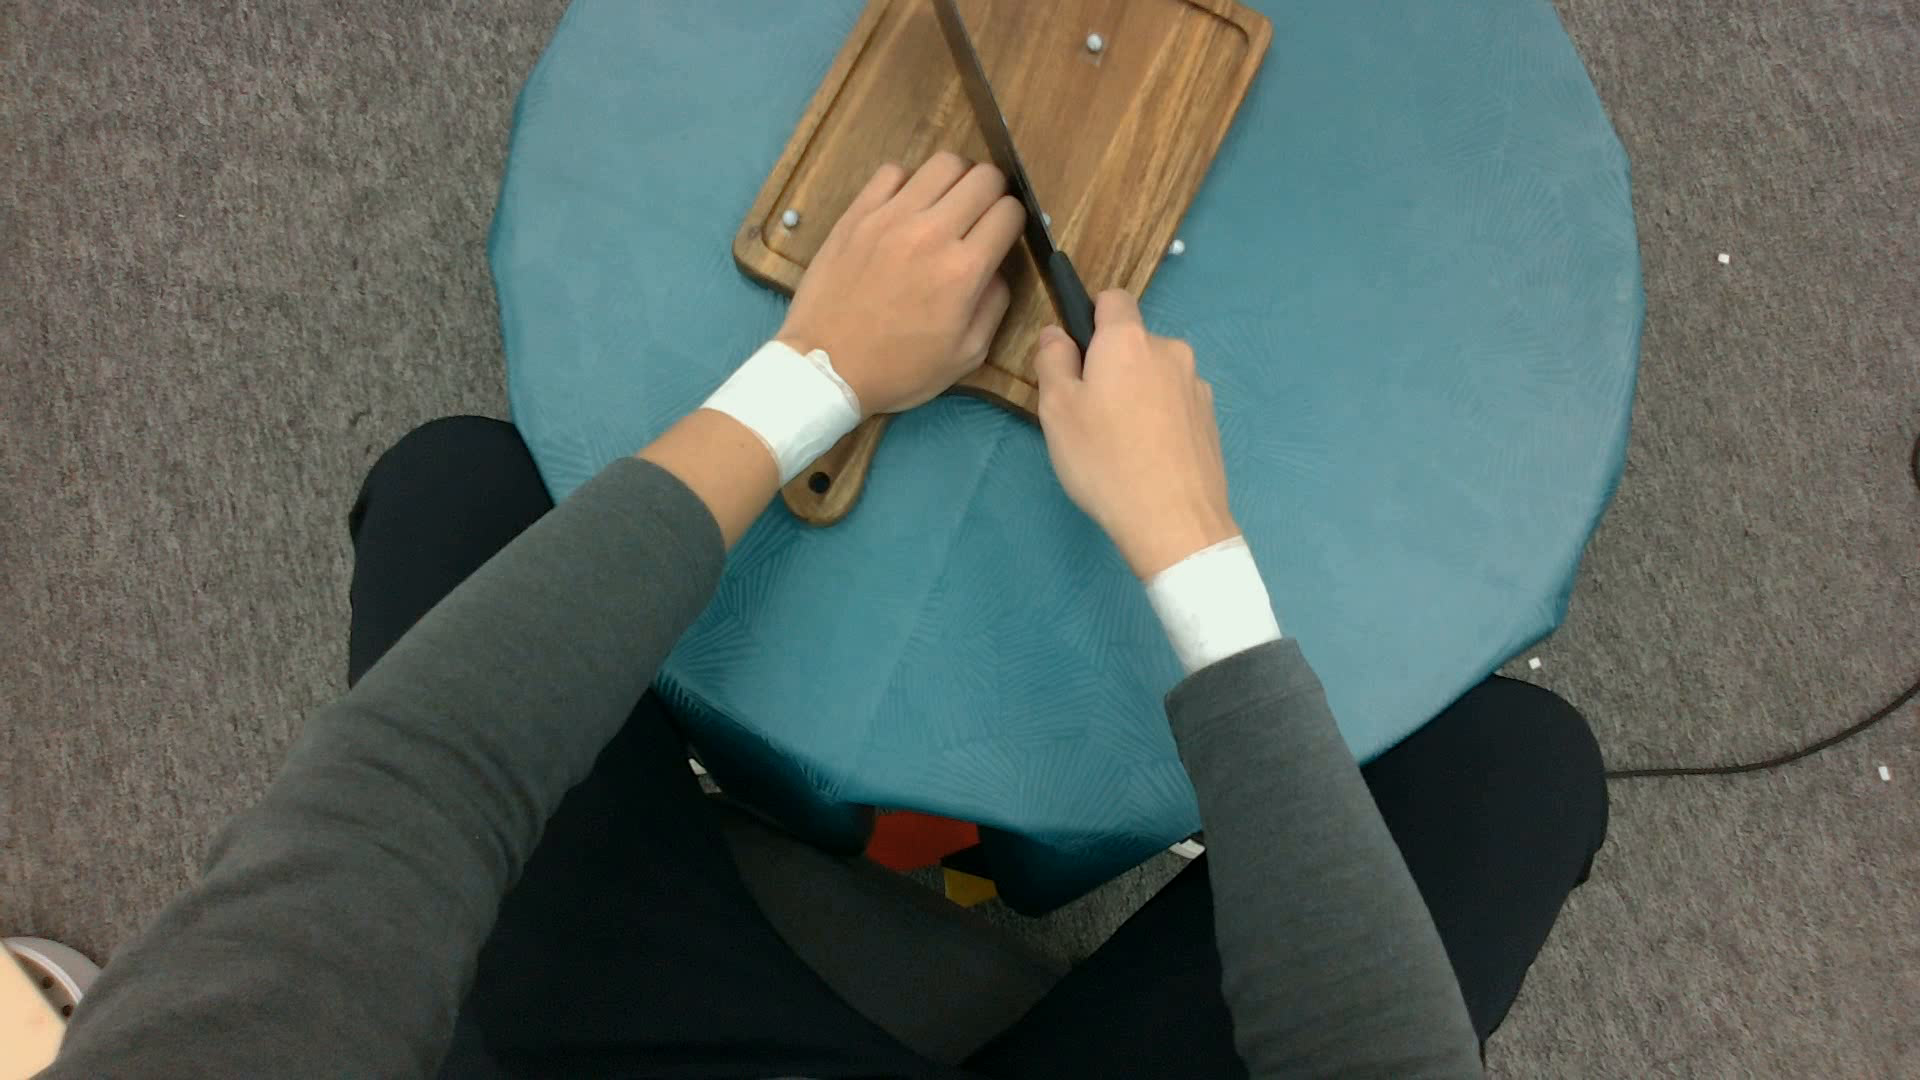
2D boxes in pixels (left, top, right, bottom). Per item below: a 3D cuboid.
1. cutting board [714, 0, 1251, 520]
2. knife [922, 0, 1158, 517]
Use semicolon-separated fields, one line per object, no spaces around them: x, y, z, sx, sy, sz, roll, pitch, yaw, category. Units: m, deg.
-0.007;-0.169;0.708;0.201;0.023;0.353;27;80;2;cutting board
0.030;-0.151;0.660;0.021;0.081;0.303;-21;75;-1;knife
